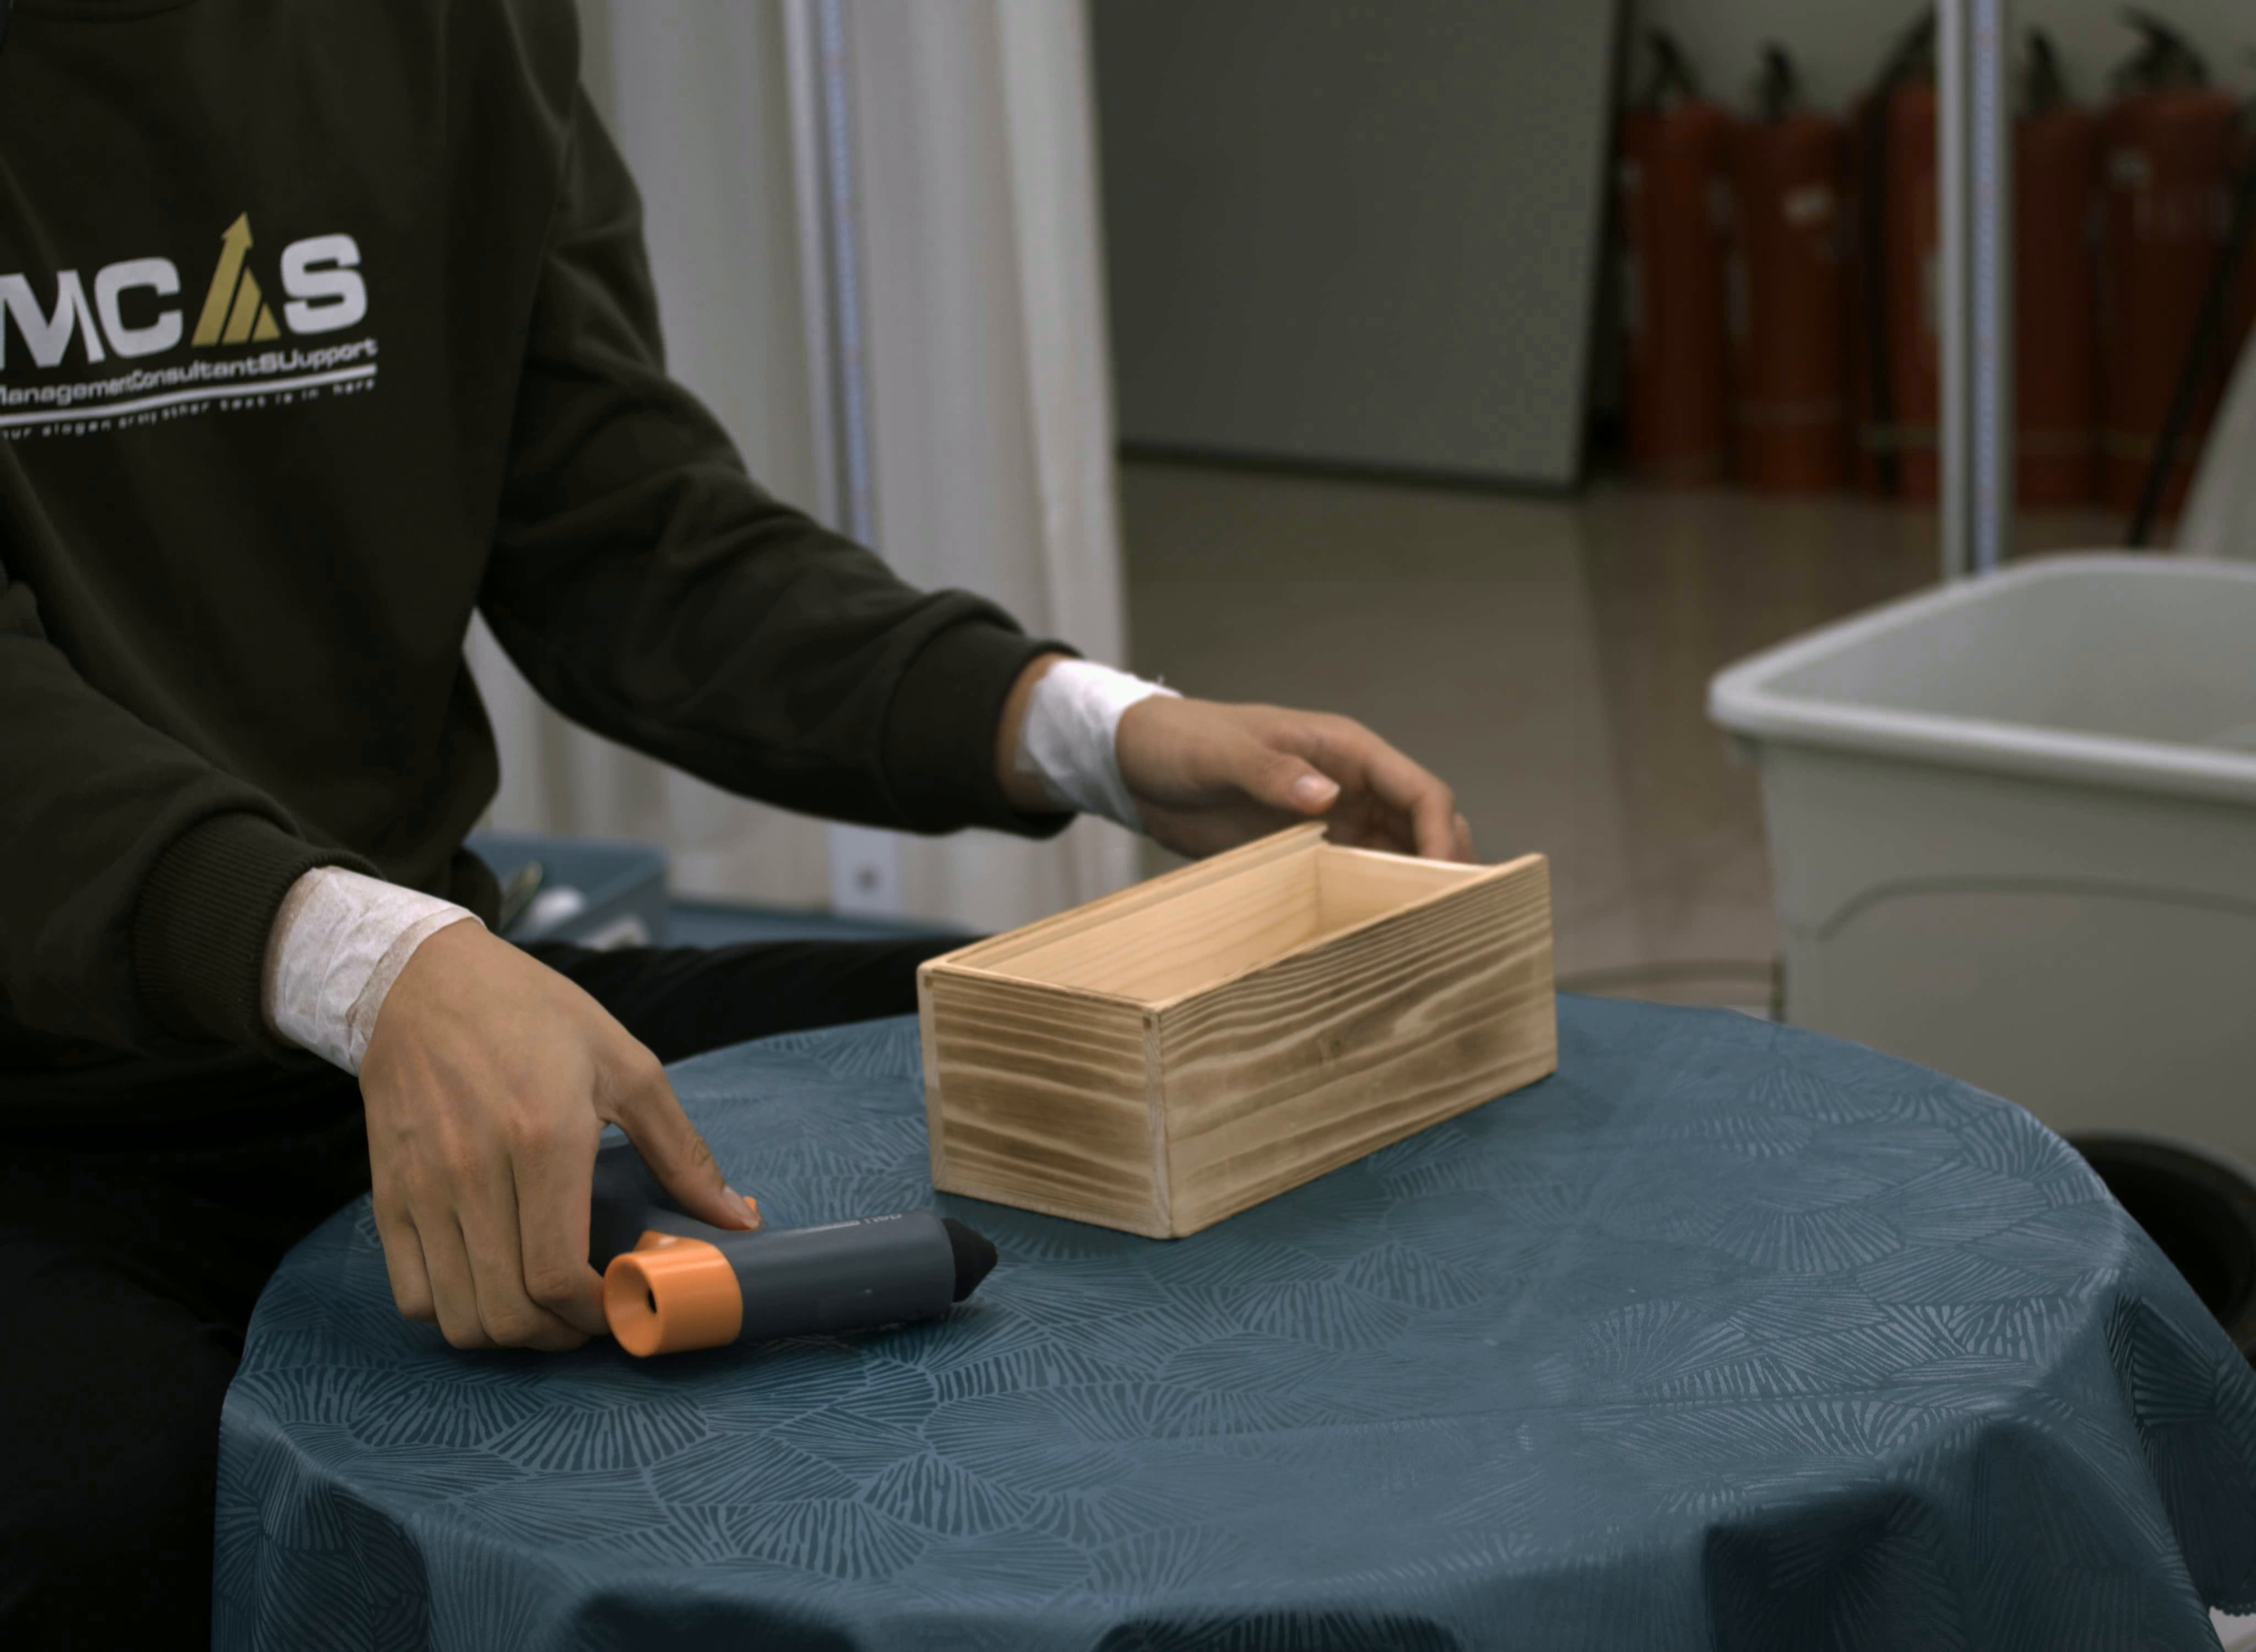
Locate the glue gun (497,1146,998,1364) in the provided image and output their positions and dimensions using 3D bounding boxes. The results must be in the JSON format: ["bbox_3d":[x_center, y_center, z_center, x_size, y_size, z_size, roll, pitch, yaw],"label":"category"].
[{"bbox_3d":[-0.123,0.136,1.688,0.115,0.041,0.141,-7,14,-40],"label":"glue gun"}]

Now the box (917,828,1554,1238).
[{"bbox_3d":[0.040,0.066,1.823,0.108,0.081,0.207,7,18,41],"label":"box"}]
